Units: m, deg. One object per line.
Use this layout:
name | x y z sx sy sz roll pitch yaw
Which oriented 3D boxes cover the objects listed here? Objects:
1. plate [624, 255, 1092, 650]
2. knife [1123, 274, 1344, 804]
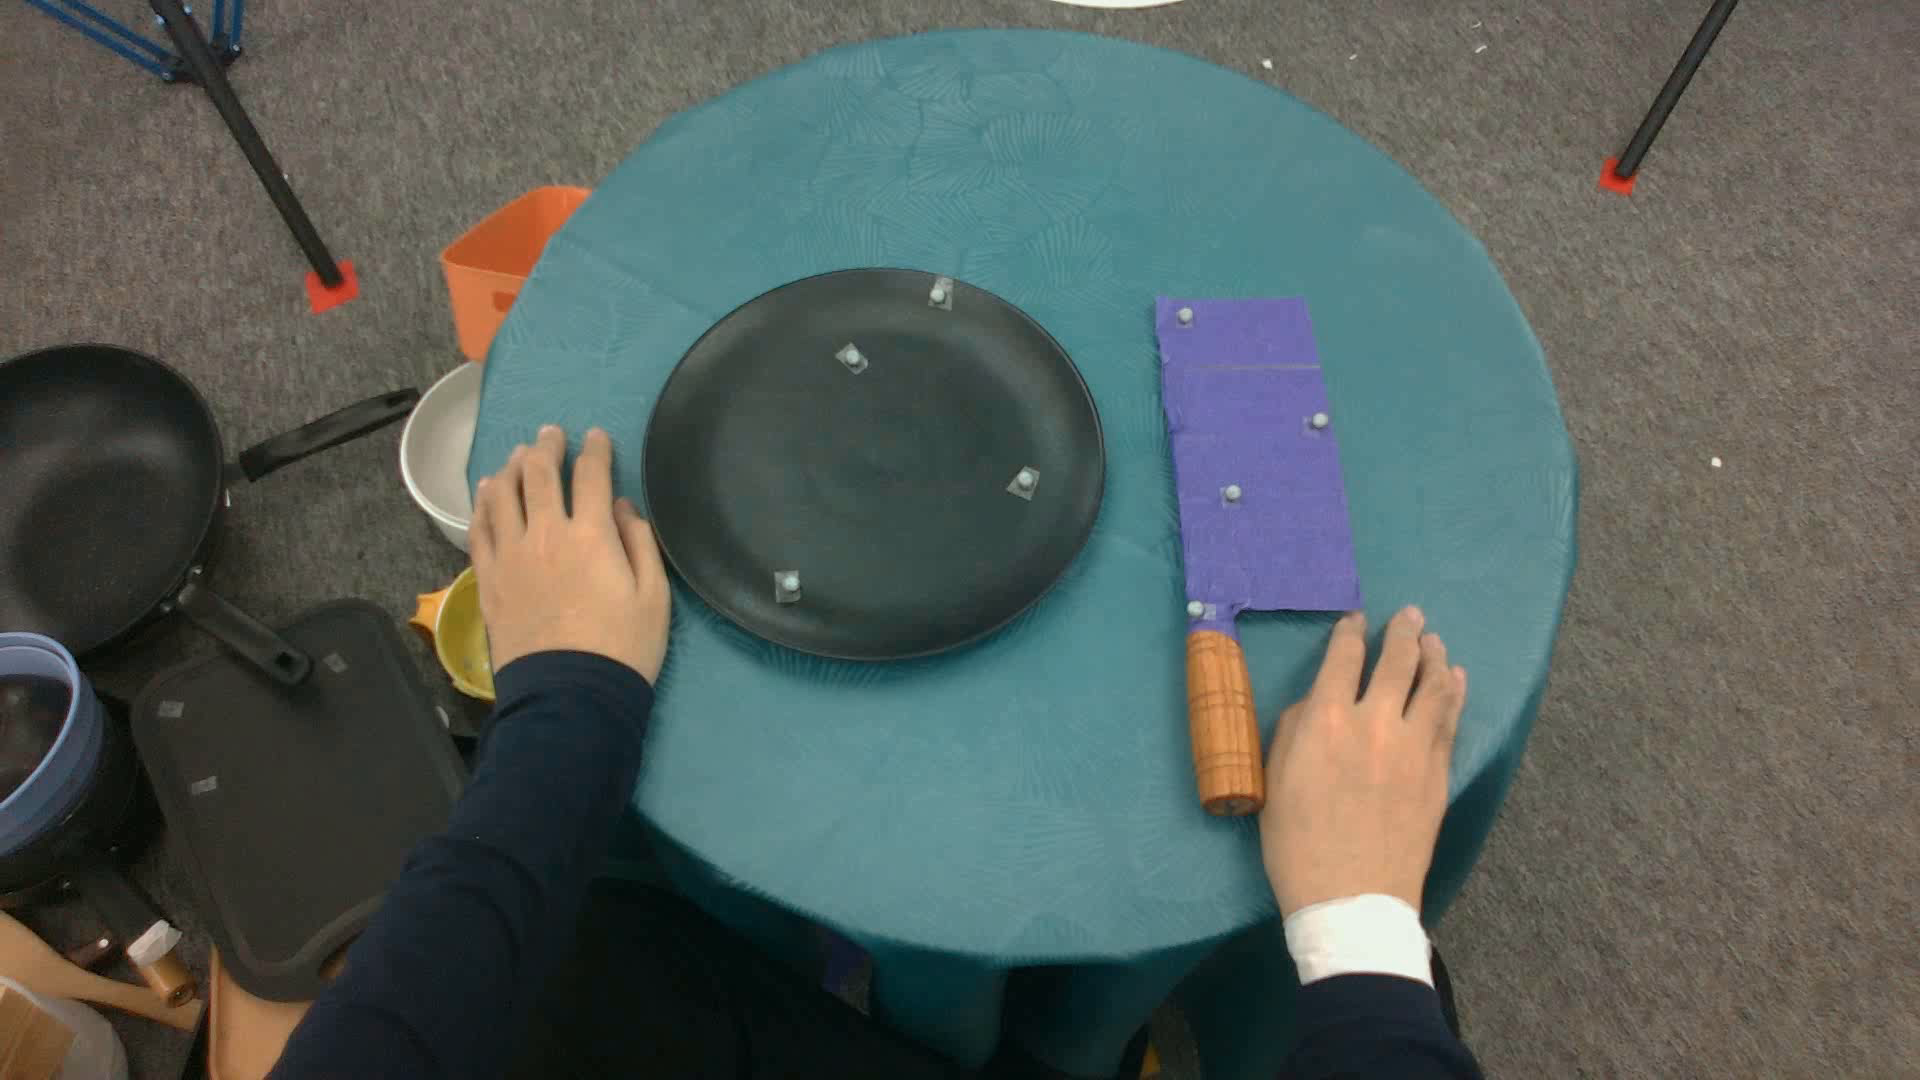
plate | -0.052 -0.049 0.729 0.244 0.023 0.245 1 61 -2
knife | 0.150 -0.018 0.720 0.104 0.032 0.316 0 61 -3
